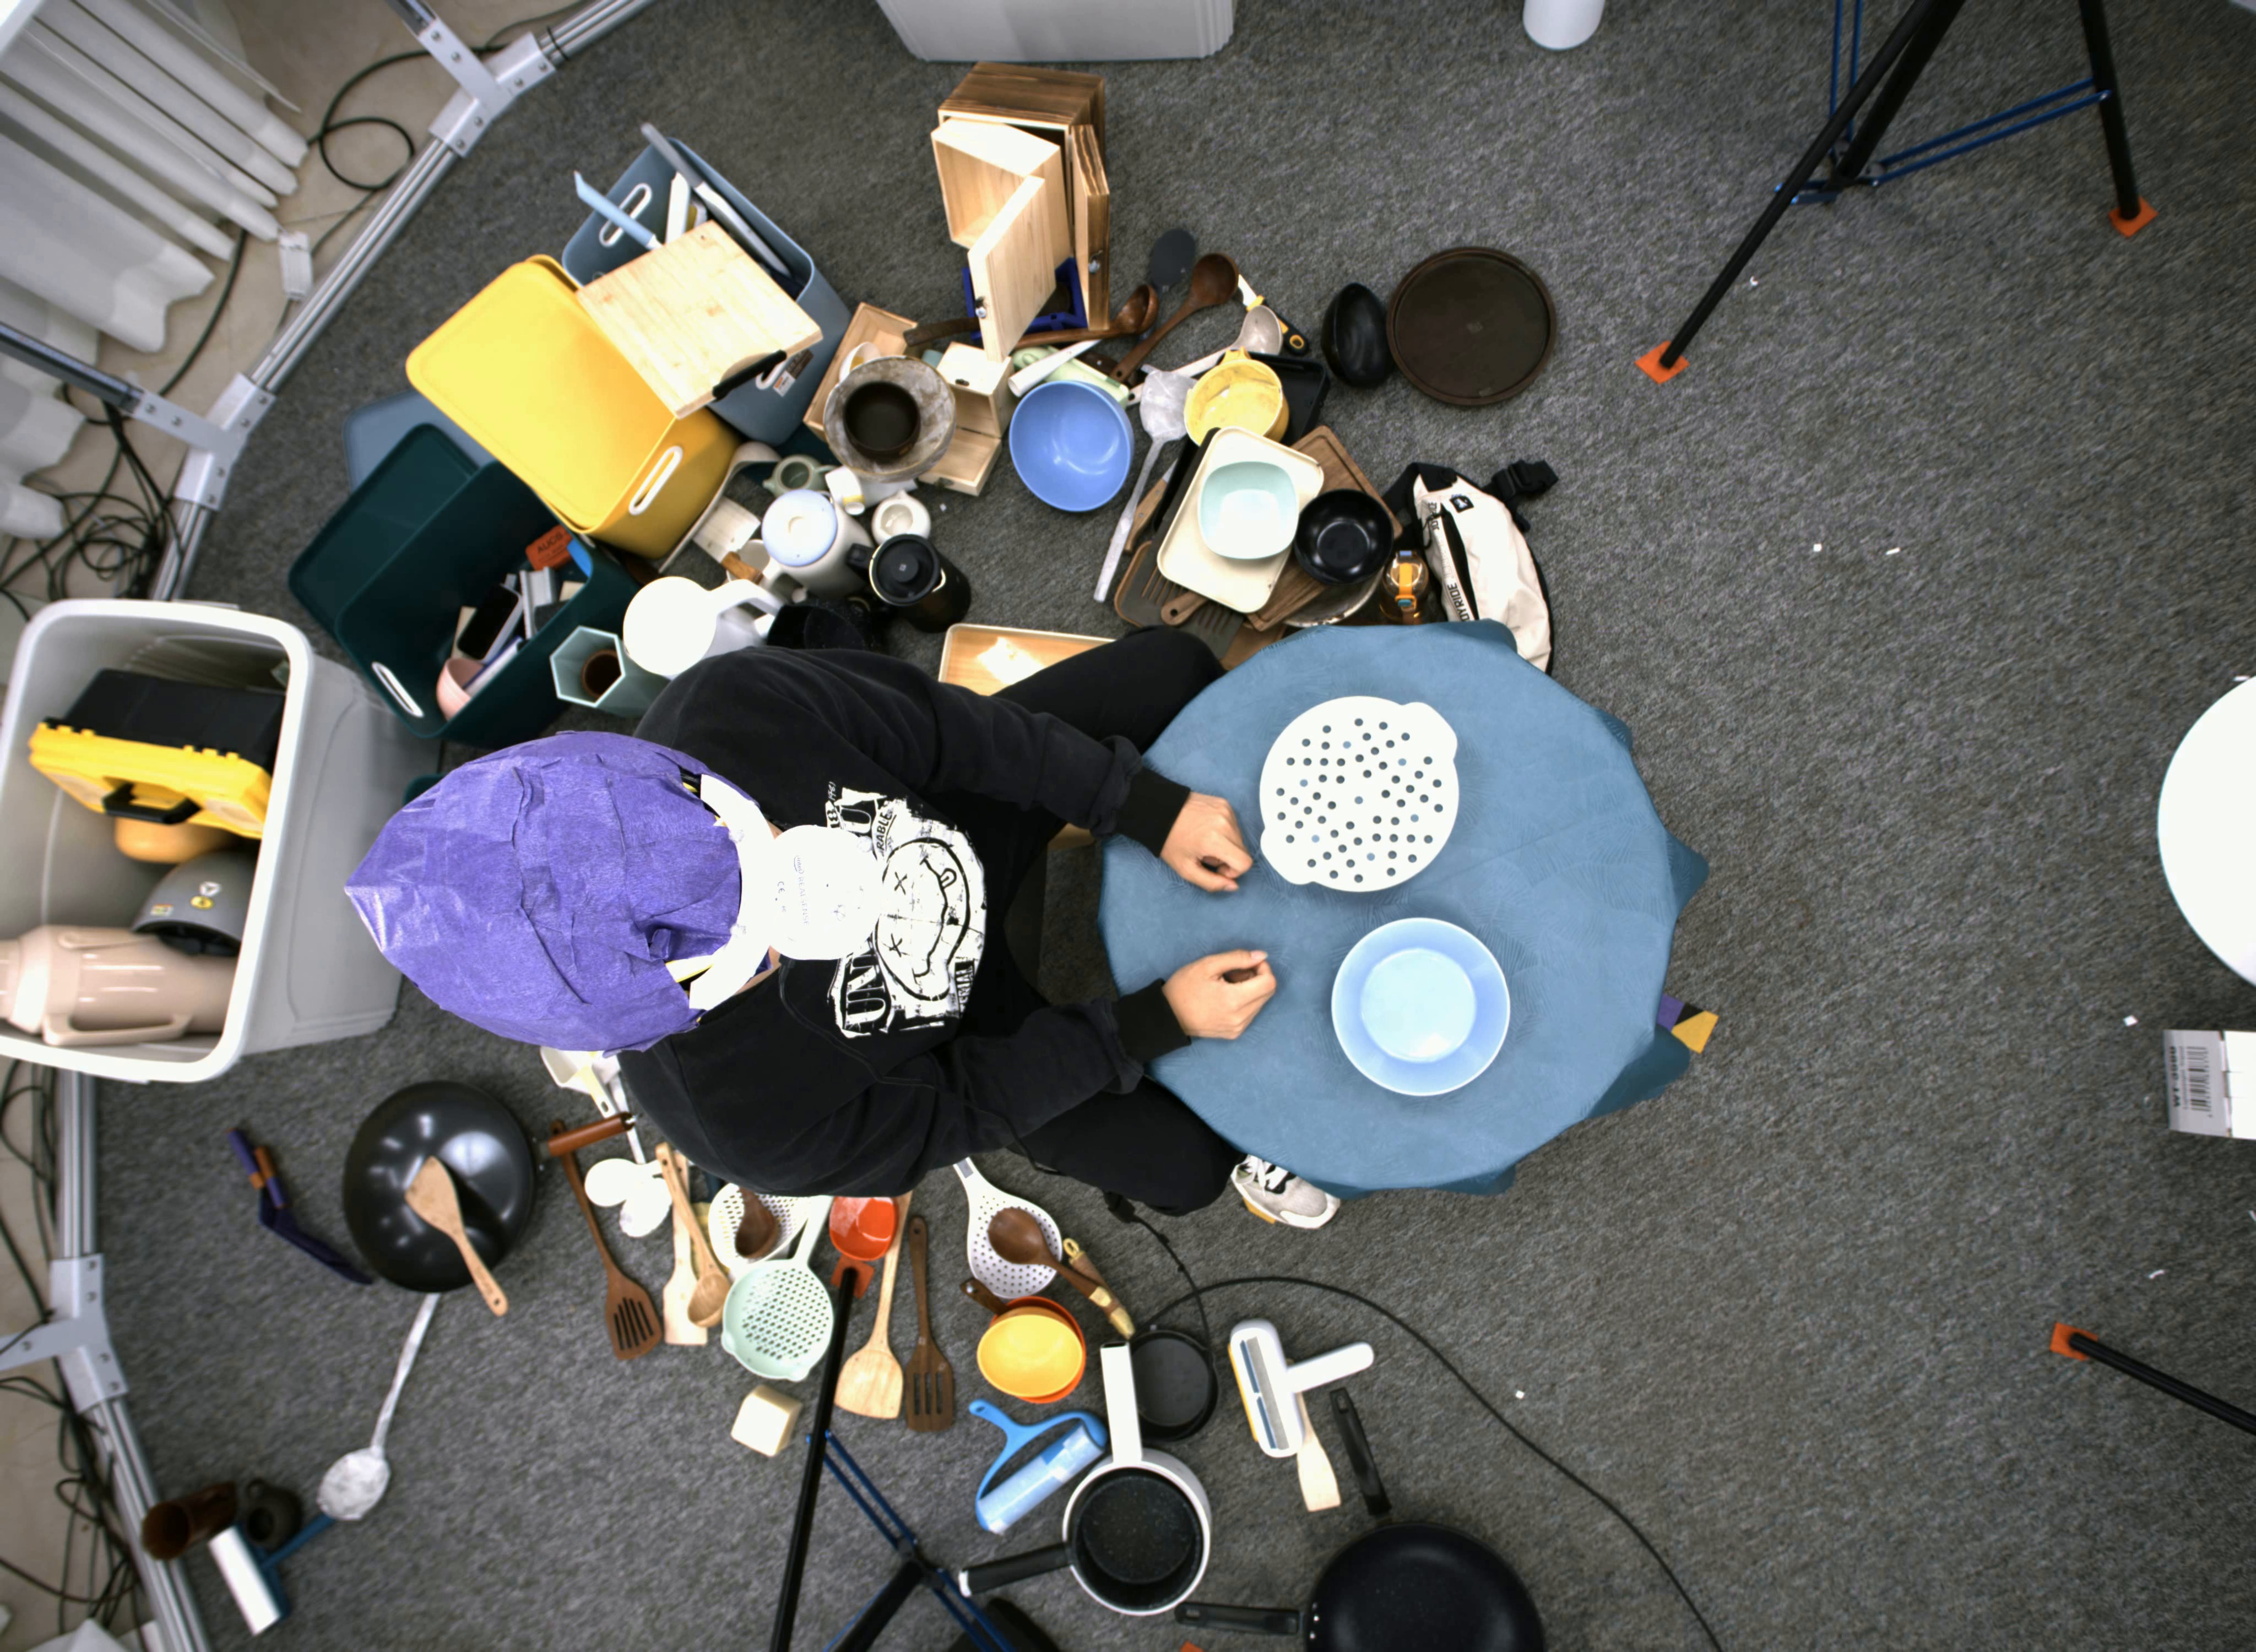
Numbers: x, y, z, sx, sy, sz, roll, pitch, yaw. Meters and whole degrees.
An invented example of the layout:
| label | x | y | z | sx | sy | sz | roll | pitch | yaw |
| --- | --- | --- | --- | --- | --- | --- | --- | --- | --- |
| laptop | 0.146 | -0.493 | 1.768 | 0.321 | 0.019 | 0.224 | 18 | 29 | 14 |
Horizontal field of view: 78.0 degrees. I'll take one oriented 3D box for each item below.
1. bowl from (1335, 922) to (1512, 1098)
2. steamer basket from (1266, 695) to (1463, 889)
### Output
| label | x | y | z | sx | sy | sz | roll | pitch | yaw |
| --- | --- | --- | --- | --- | --- | --- | --- | --- | --- |
| bowl | 0.301 | 0.186 | 1.415 | 0.177 | 0.070 | 0.175 | -1 | 84 | 11 |
| steamer basket | 0.246 | -0.033 | 1.441 | 0.231 | 0.069 | 0.201 | -42 | 80 | 3 |
